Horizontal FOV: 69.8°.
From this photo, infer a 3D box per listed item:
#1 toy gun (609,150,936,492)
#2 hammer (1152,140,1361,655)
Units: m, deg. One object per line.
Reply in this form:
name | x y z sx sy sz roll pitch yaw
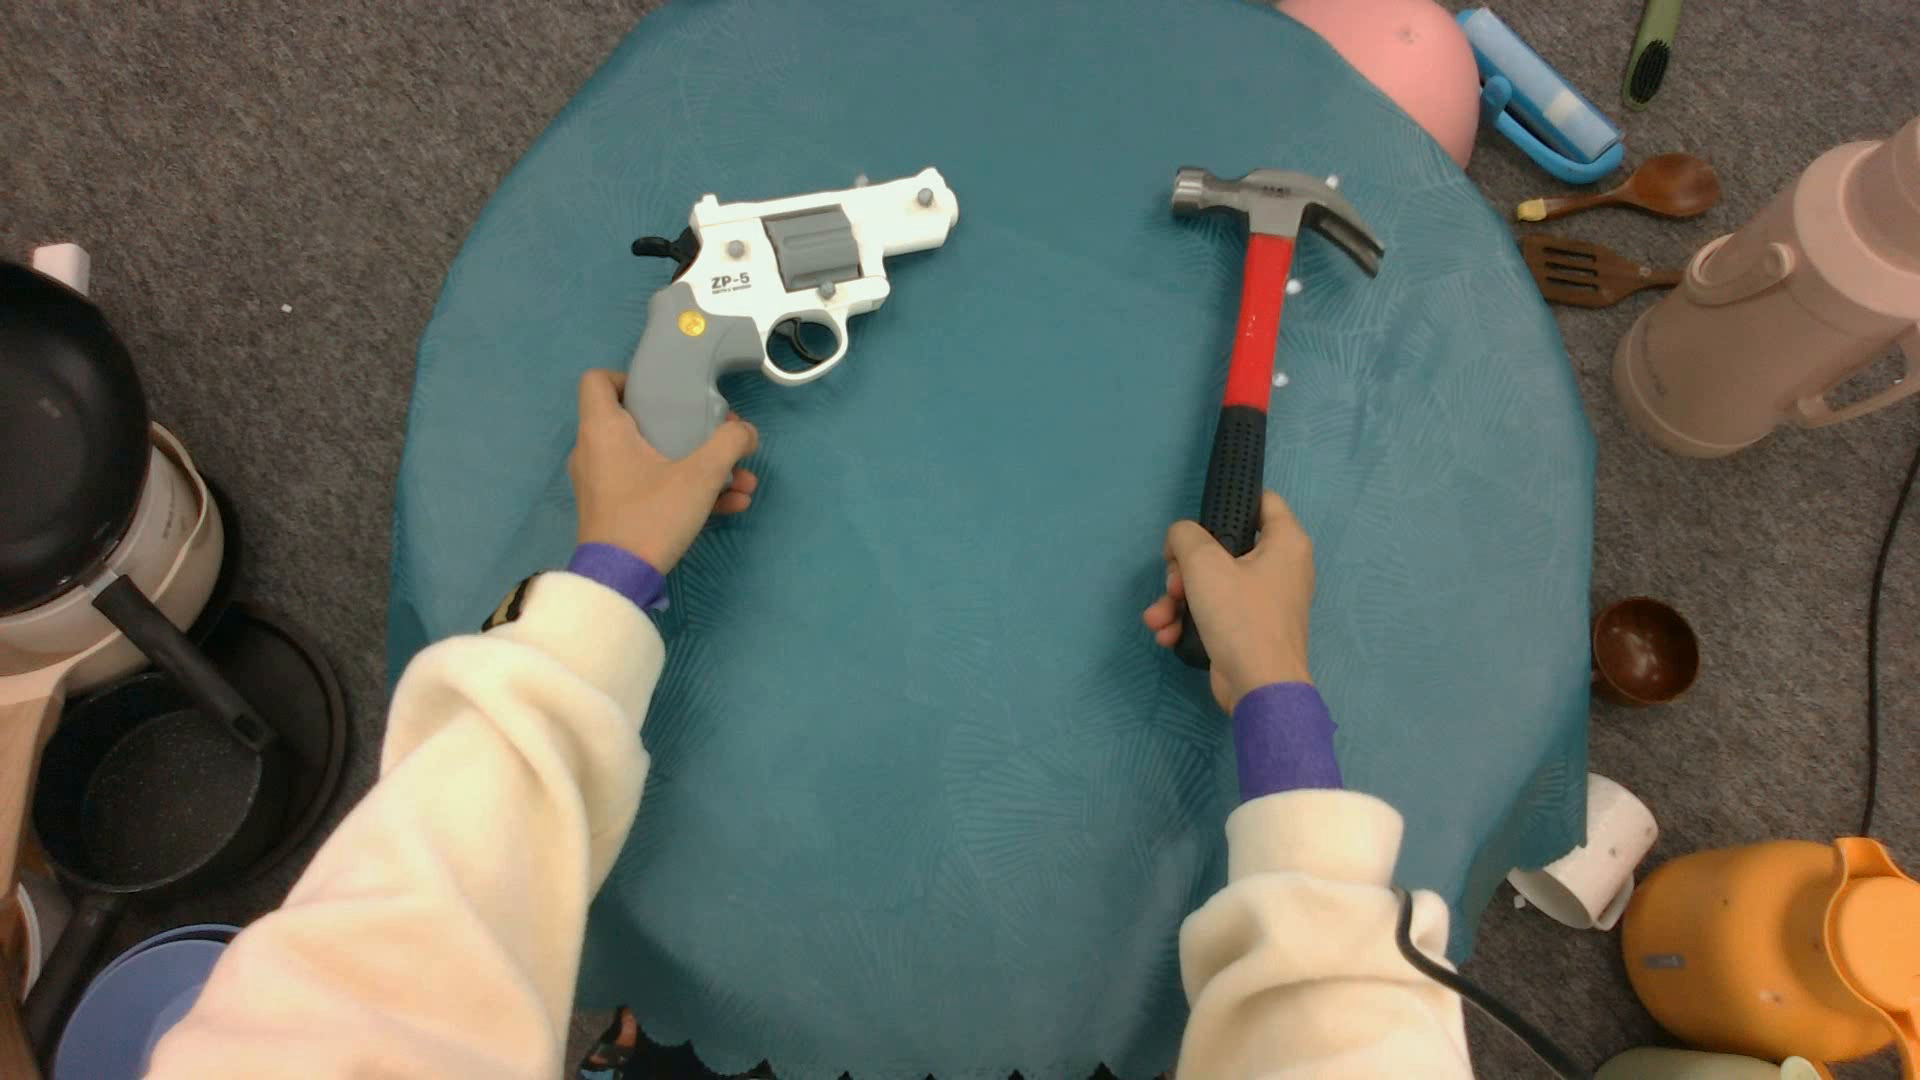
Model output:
toy gun | -0.089 -0.113 0.679 0.210 0.038 0.142 -19 80 -22
hammer | 0.134 -0.075 0.678 0.111 0.026 0.278 13 66 -2
